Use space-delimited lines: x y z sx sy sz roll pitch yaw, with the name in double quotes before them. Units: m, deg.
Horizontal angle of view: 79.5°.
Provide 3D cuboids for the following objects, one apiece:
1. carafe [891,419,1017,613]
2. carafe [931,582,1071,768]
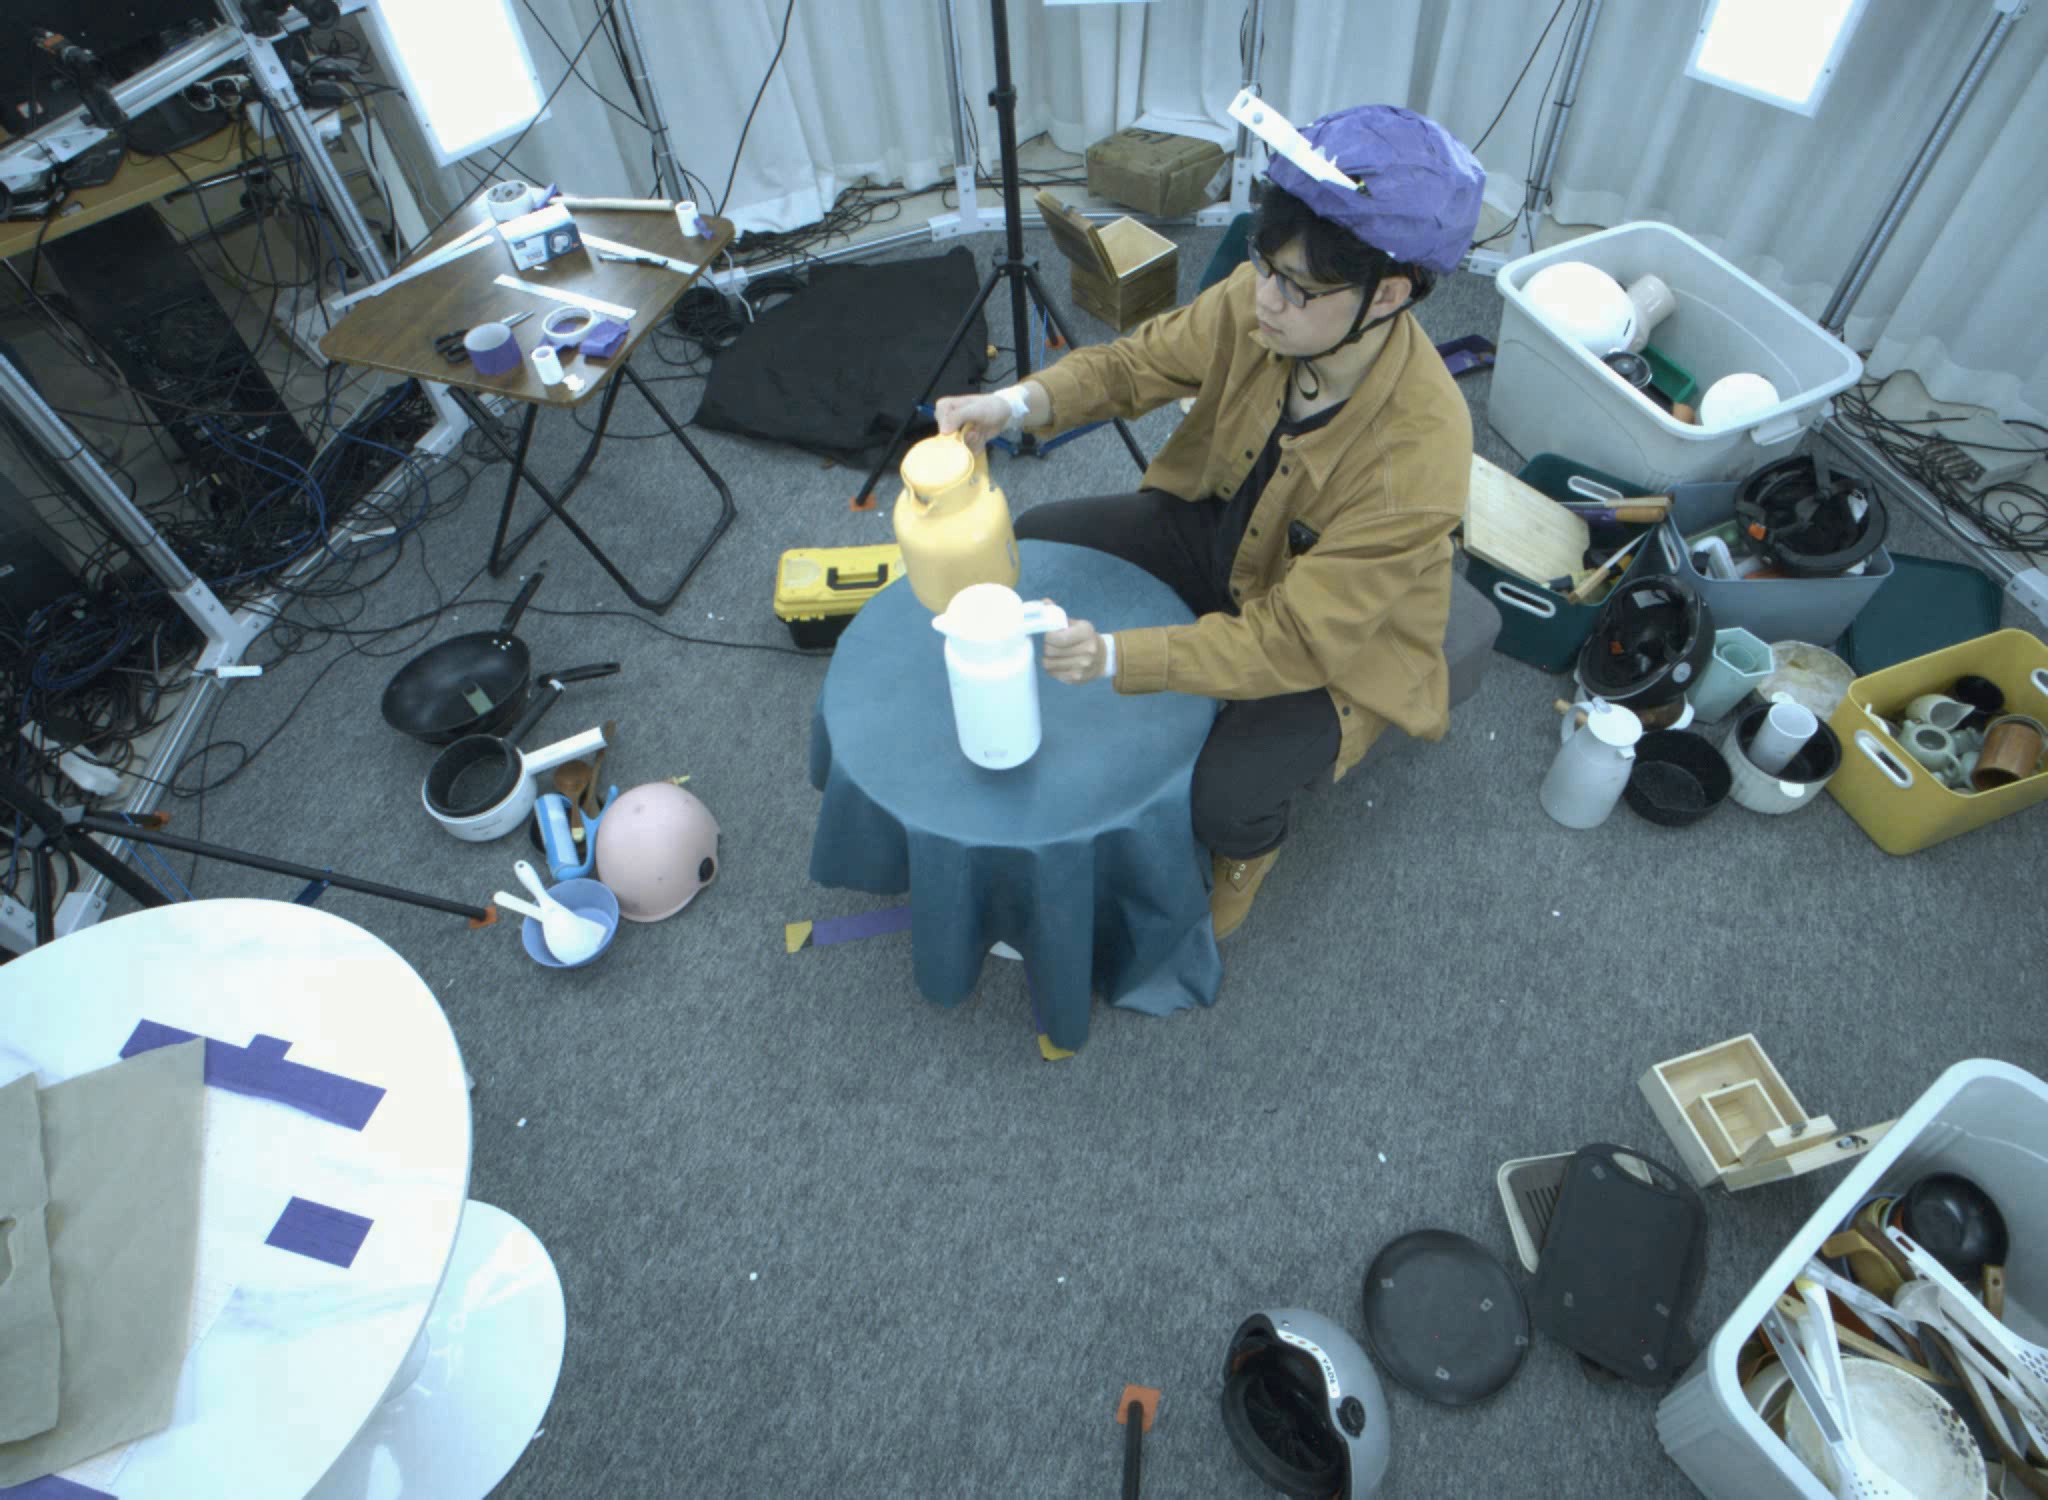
"carafe" -0.095 -0.332 1.693 0.162 0.263 0.202 14 63 13
"carafe" -0.024 -0.099 1.632 0.173 0.272 0.122 -8 52 -2
